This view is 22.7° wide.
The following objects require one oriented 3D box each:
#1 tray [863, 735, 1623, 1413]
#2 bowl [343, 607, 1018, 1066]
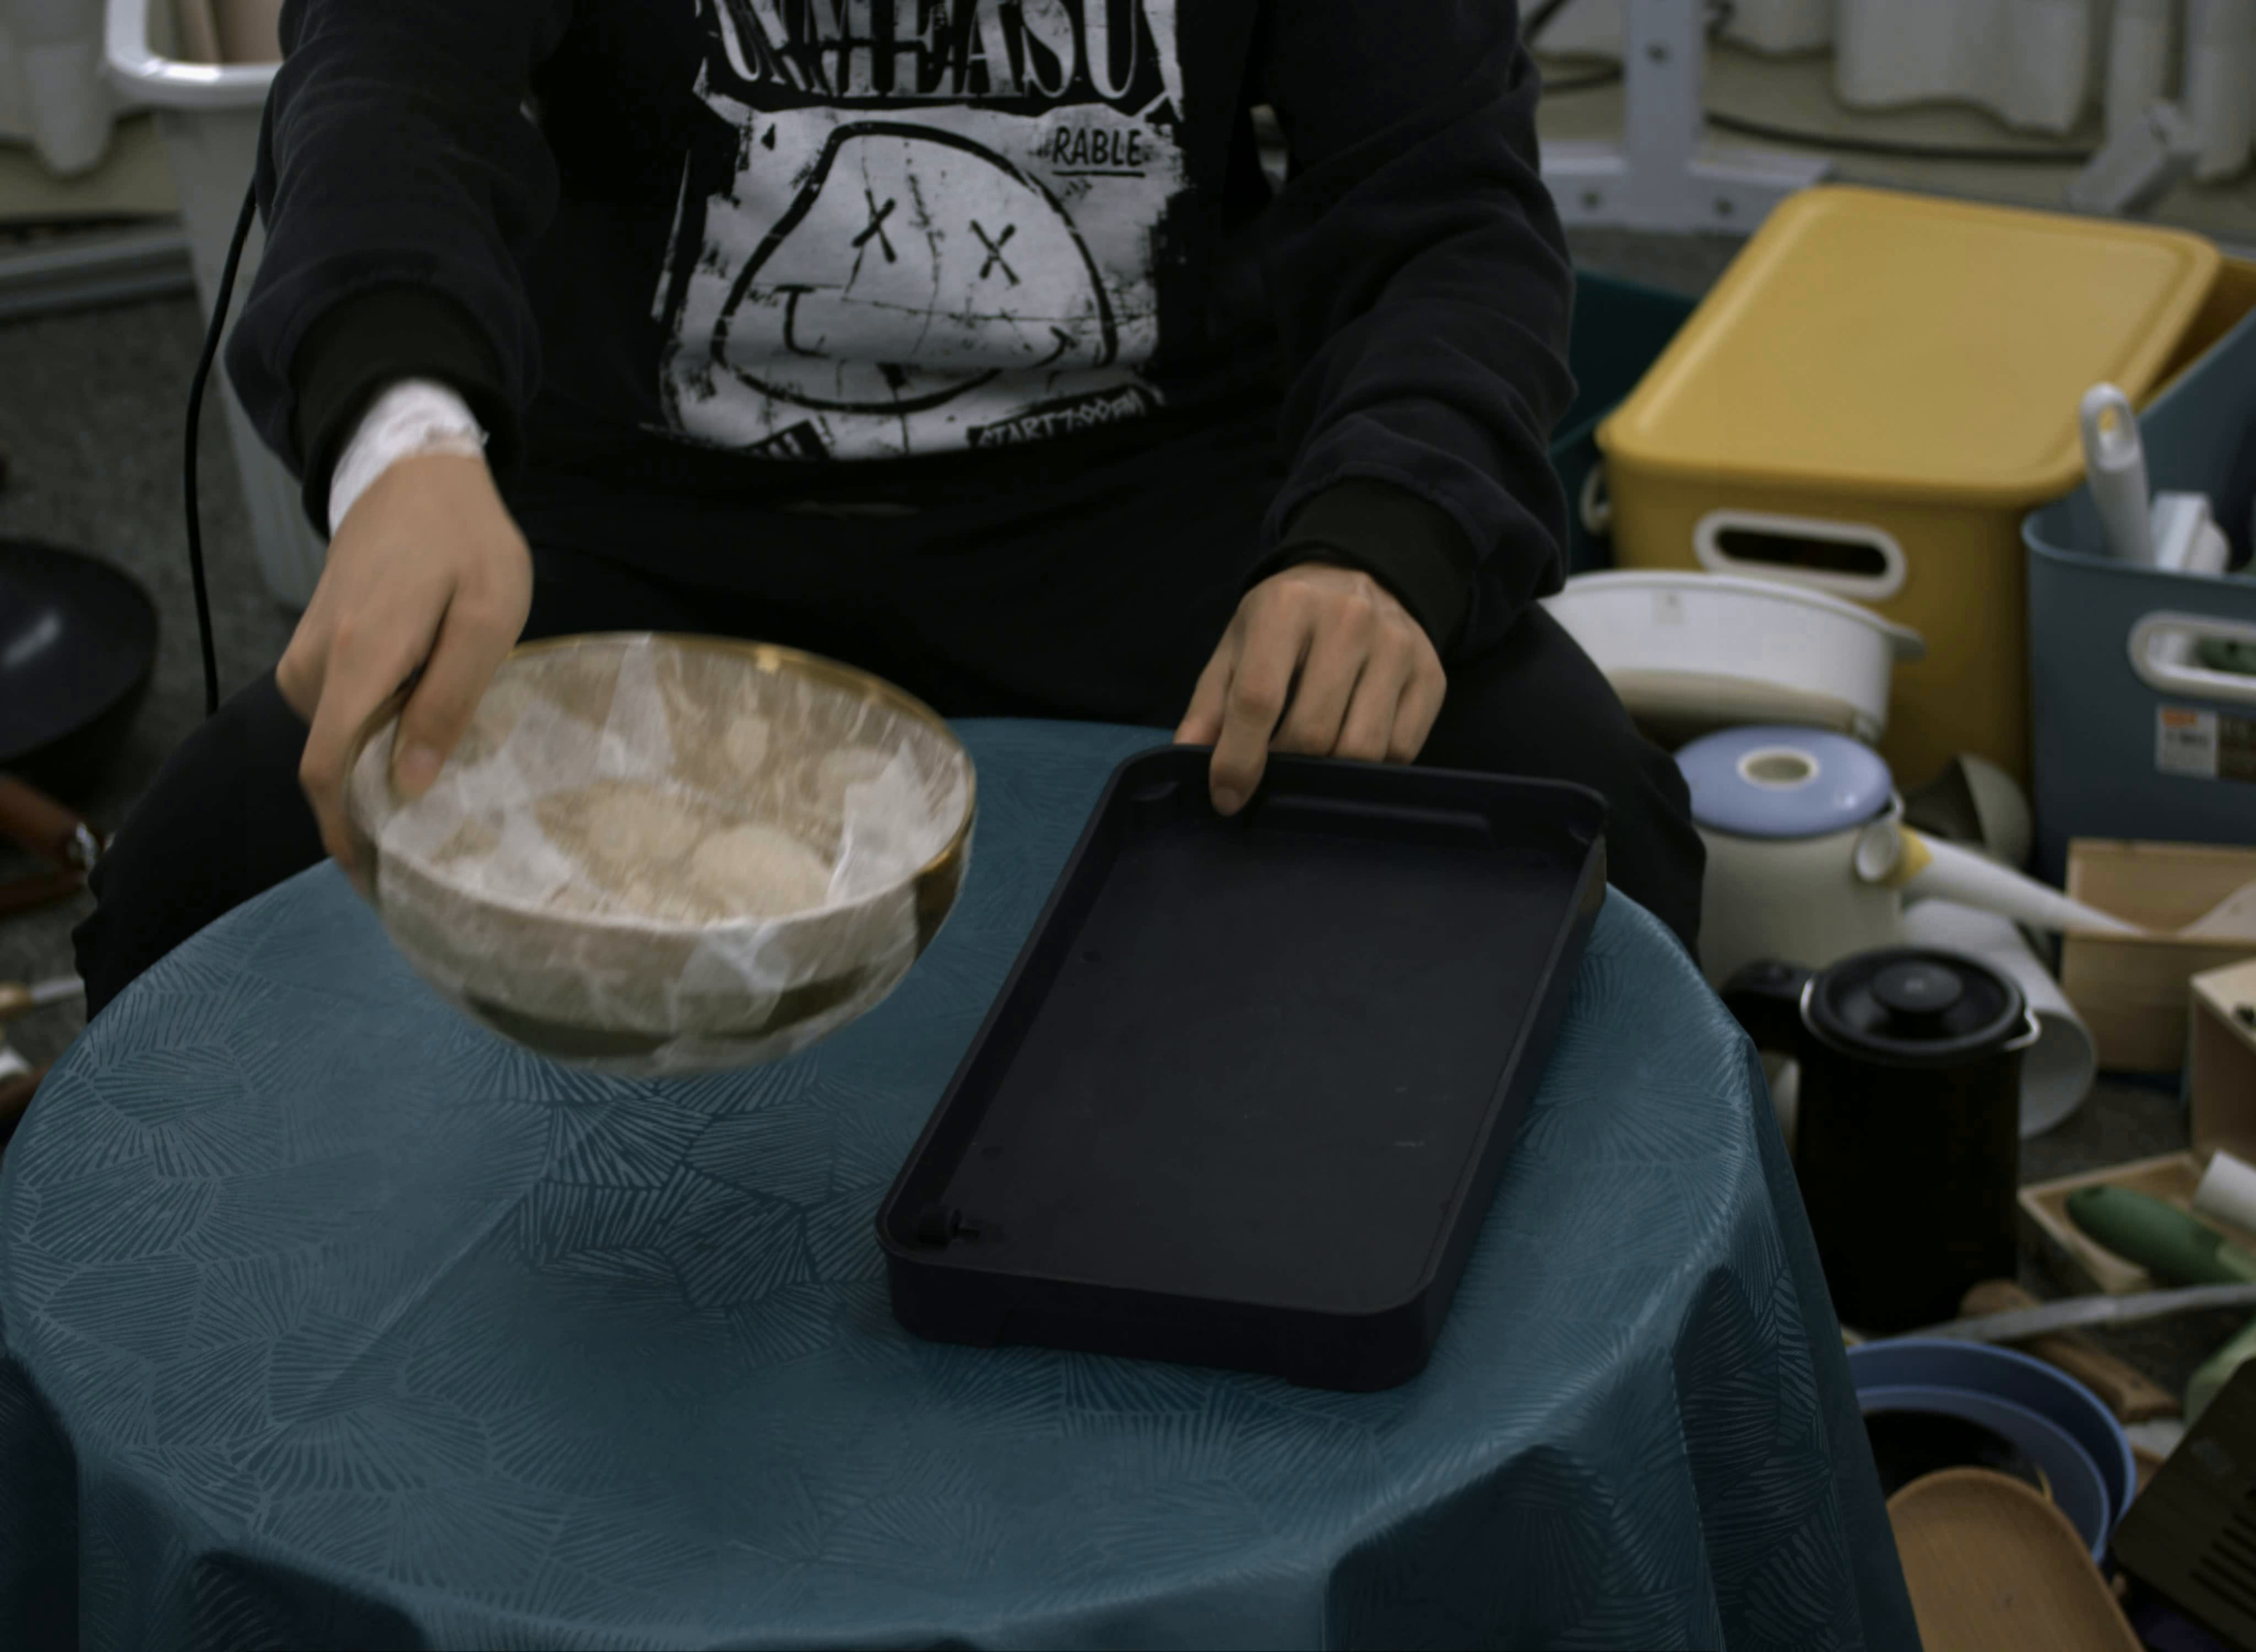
[{"bbox_3d":[0.045,0.076,1.887,0.183,0.036,0.324,8,35,16],"label":"tray"},{"bbox_3d":[-0.144,0.015,1.790,0.214,0.093,0.218,3,27,-1],"label":"bowl"}]
